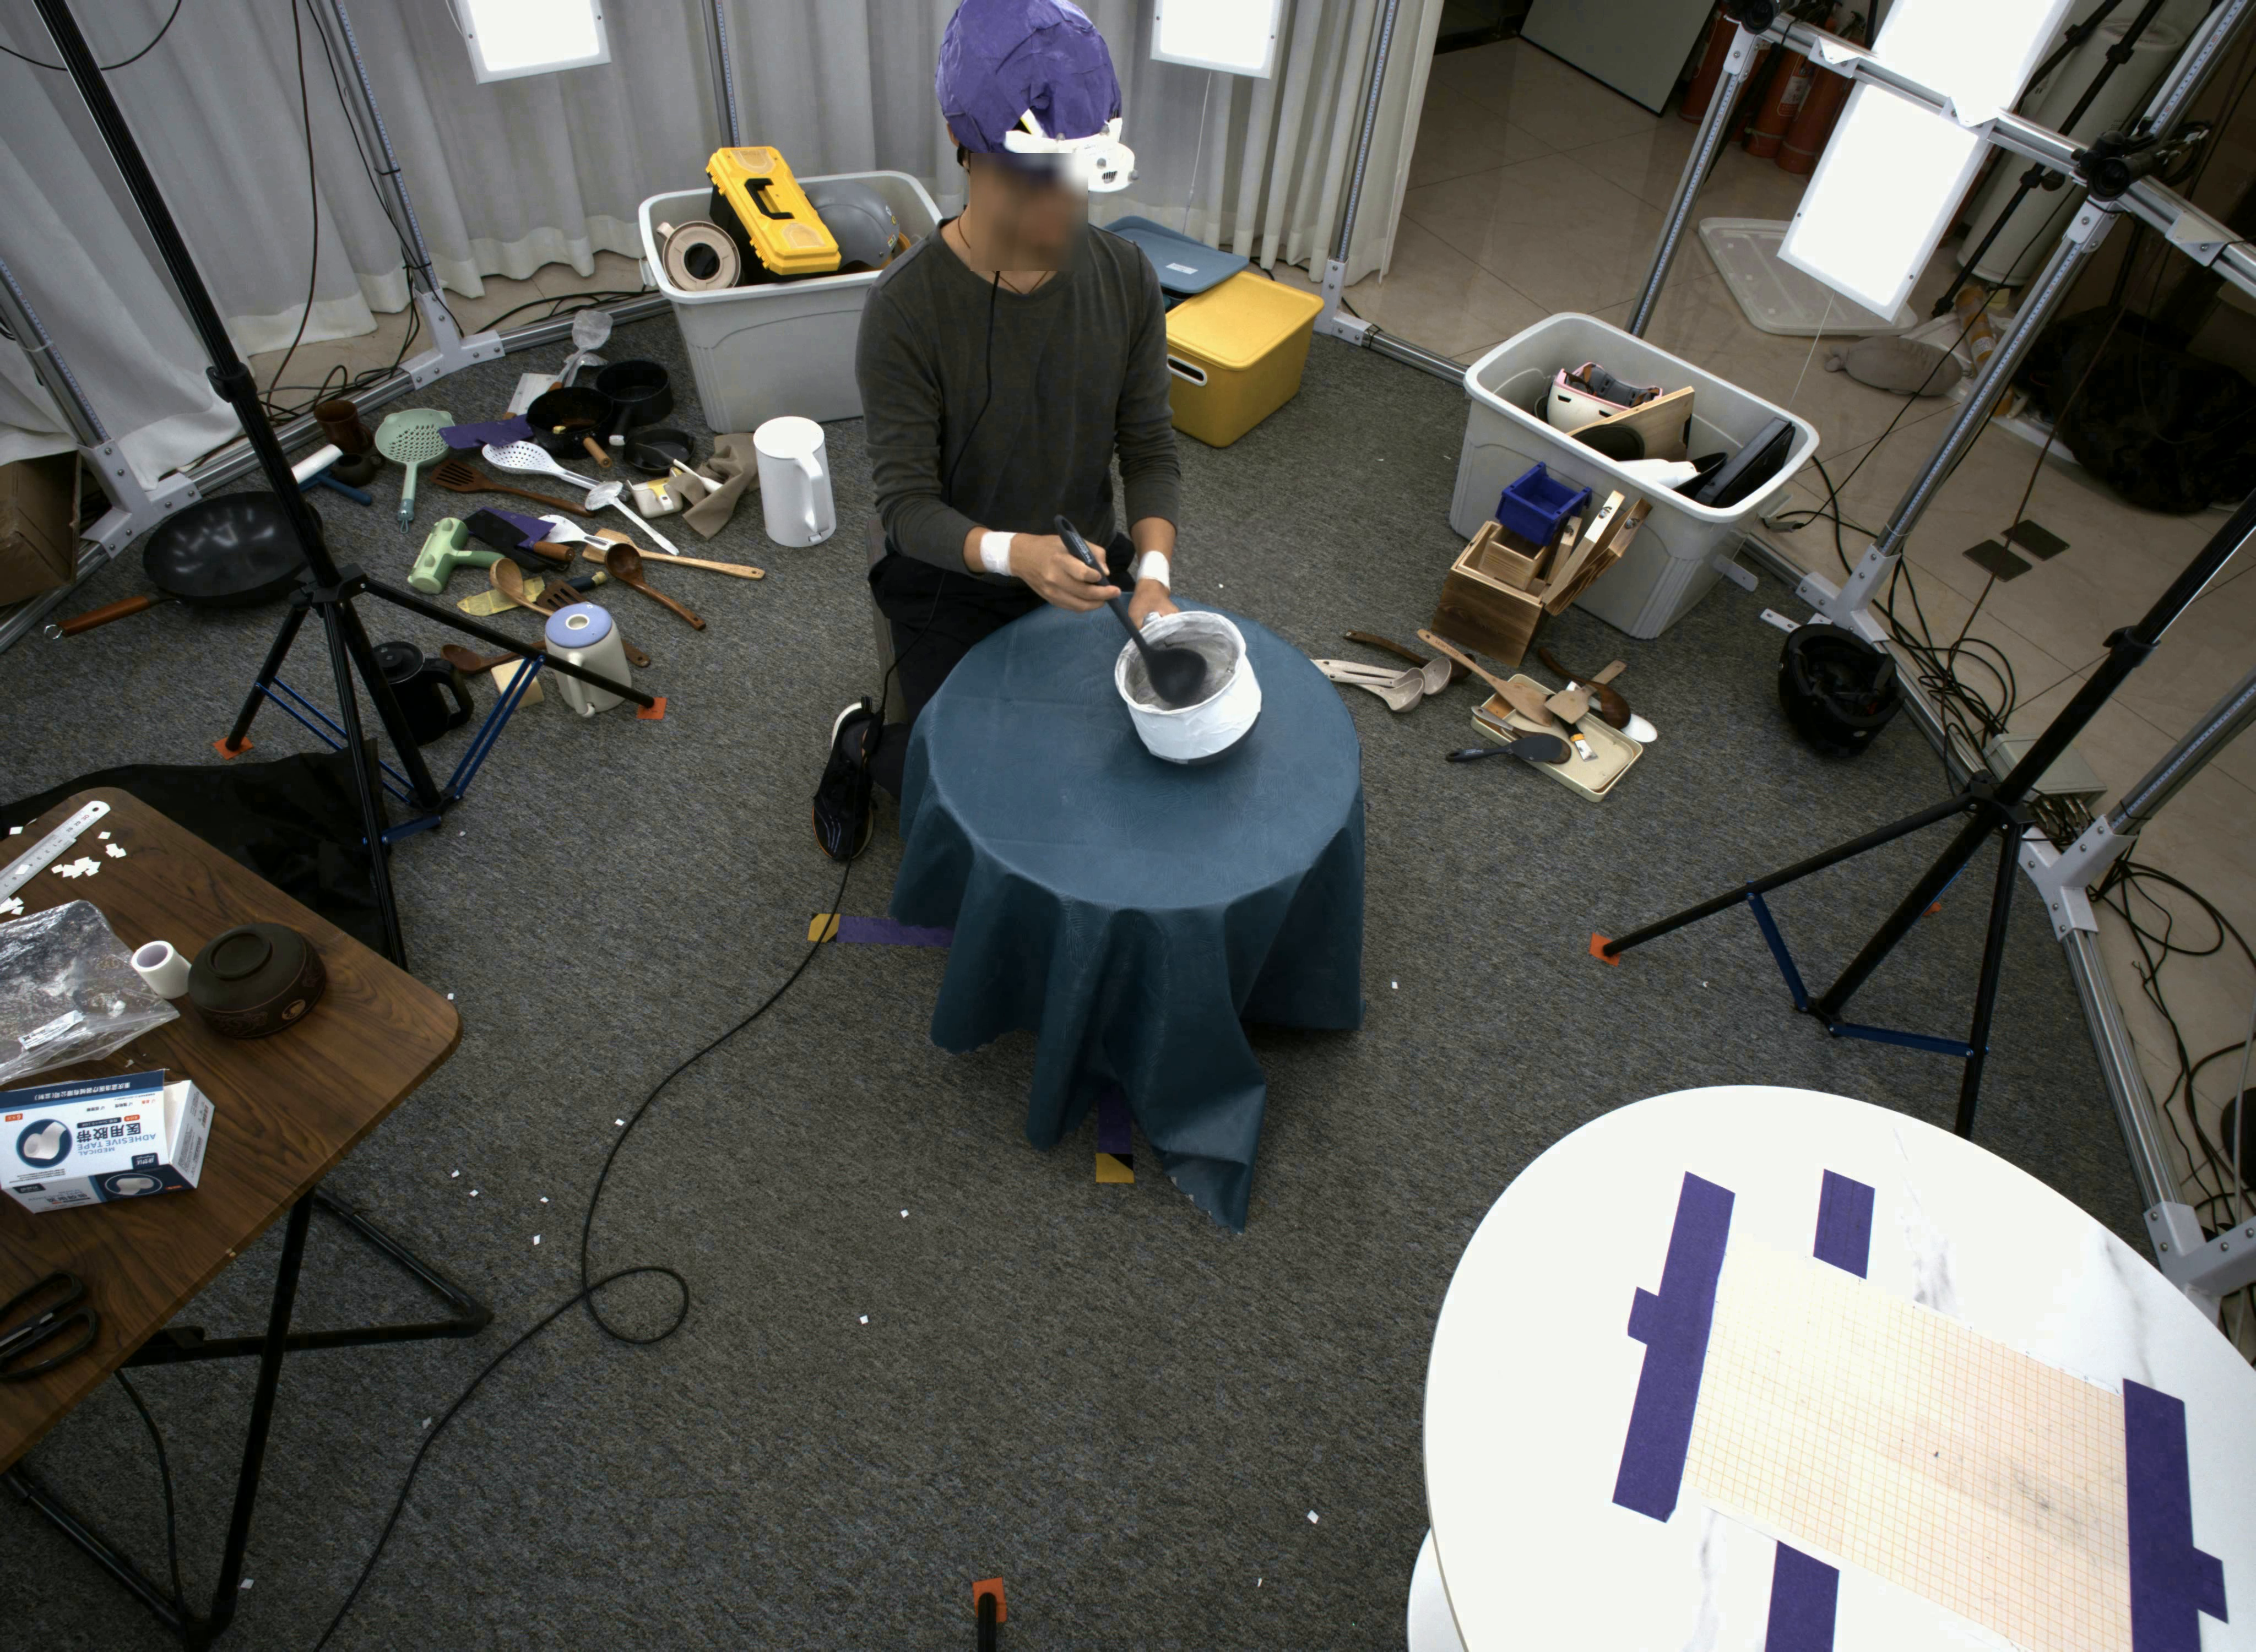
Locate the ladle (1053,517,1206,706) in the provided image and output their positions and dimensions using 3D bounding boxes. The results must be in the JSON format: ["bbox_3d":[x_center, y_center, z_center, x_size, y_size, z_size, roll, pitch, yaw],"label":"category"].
[{"bbox_3d":[0.003,-0.276,1.642,0.064,0.307,0.087,4,55,39],"label":"ladle"}]

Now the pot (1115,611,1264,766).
[{"bbox_3d":[0.075,-0.198,1.736,0.178,0.133,0.239,-28,50,-1],"label":"pot"}]
